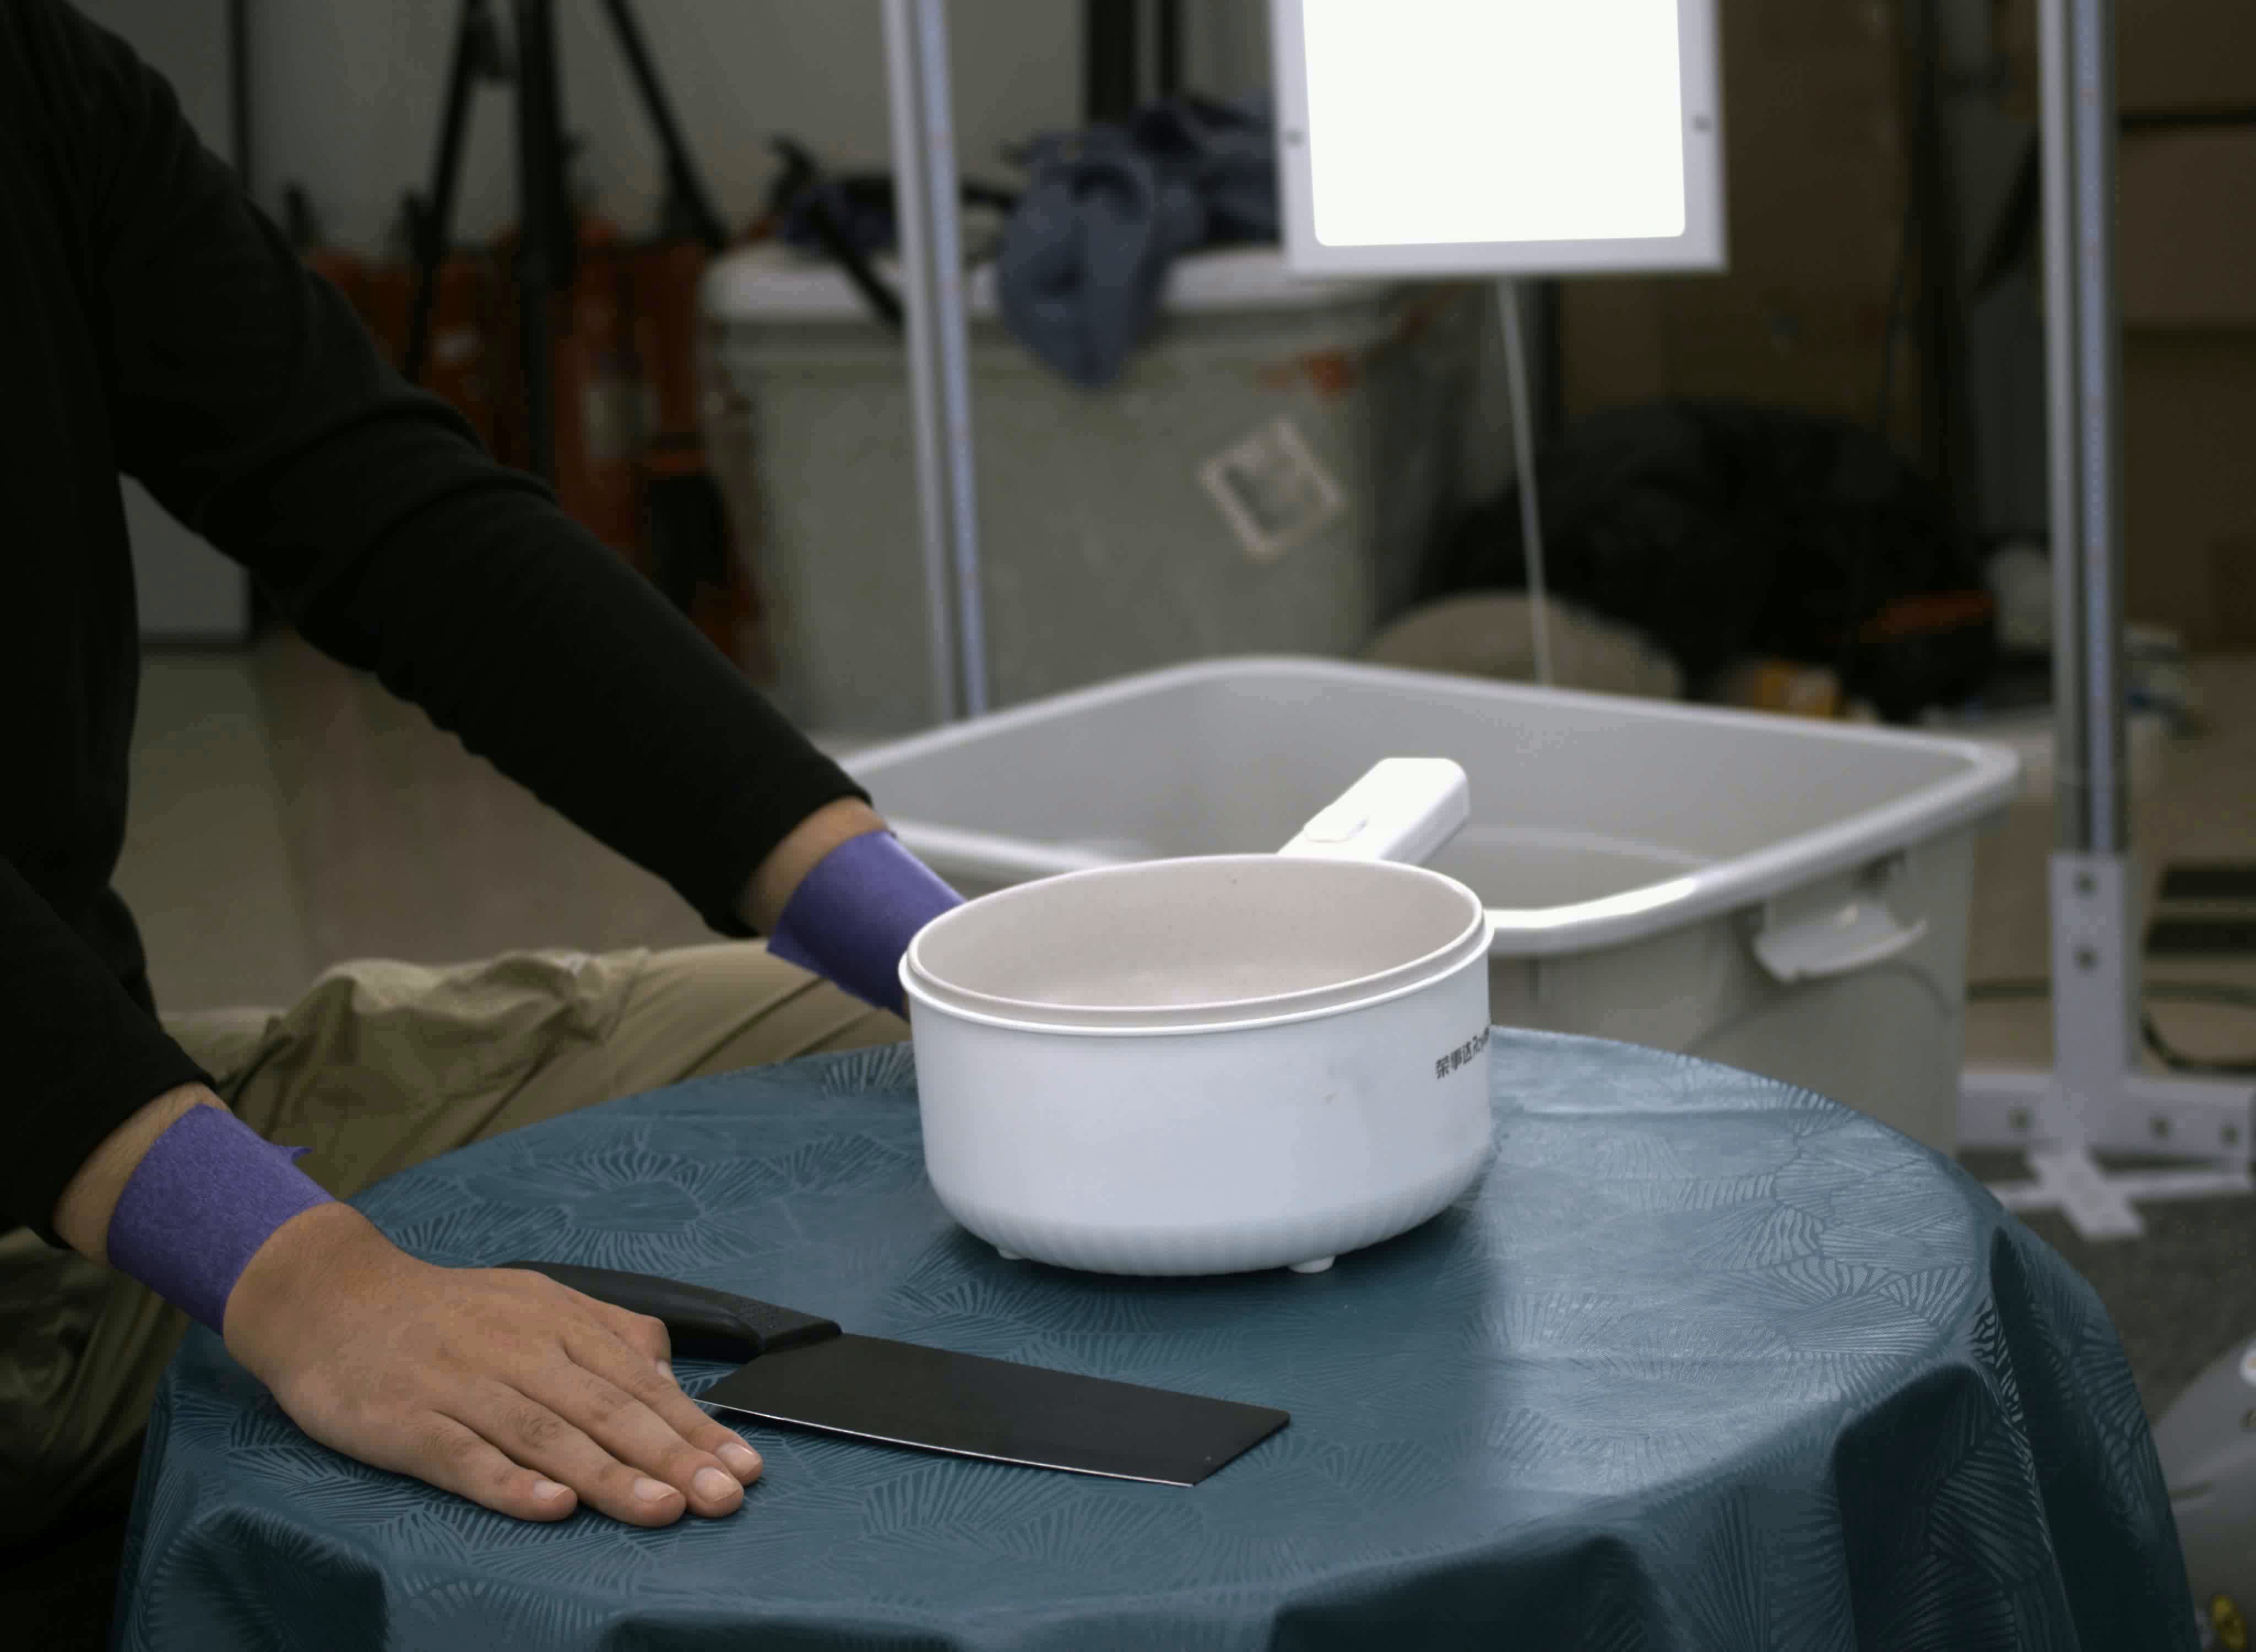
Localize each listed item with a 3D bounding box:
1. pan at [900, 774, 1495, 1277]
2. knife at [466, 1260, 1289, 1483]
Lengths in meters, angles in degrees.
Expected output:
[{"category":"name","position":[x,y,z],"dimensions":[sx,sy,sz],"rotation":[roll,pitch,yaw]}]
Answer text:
[{"category":"pan","position":[0.054,0.066,1.926],"dimensions":[0.204,0.102,0.348],"rotation":[0,13,22]},{"category":"knife","position":[-0.089,0.171,1.725],"dimensions":[0.308,0.021,0.079],"rotation":[8,20,38]}]
